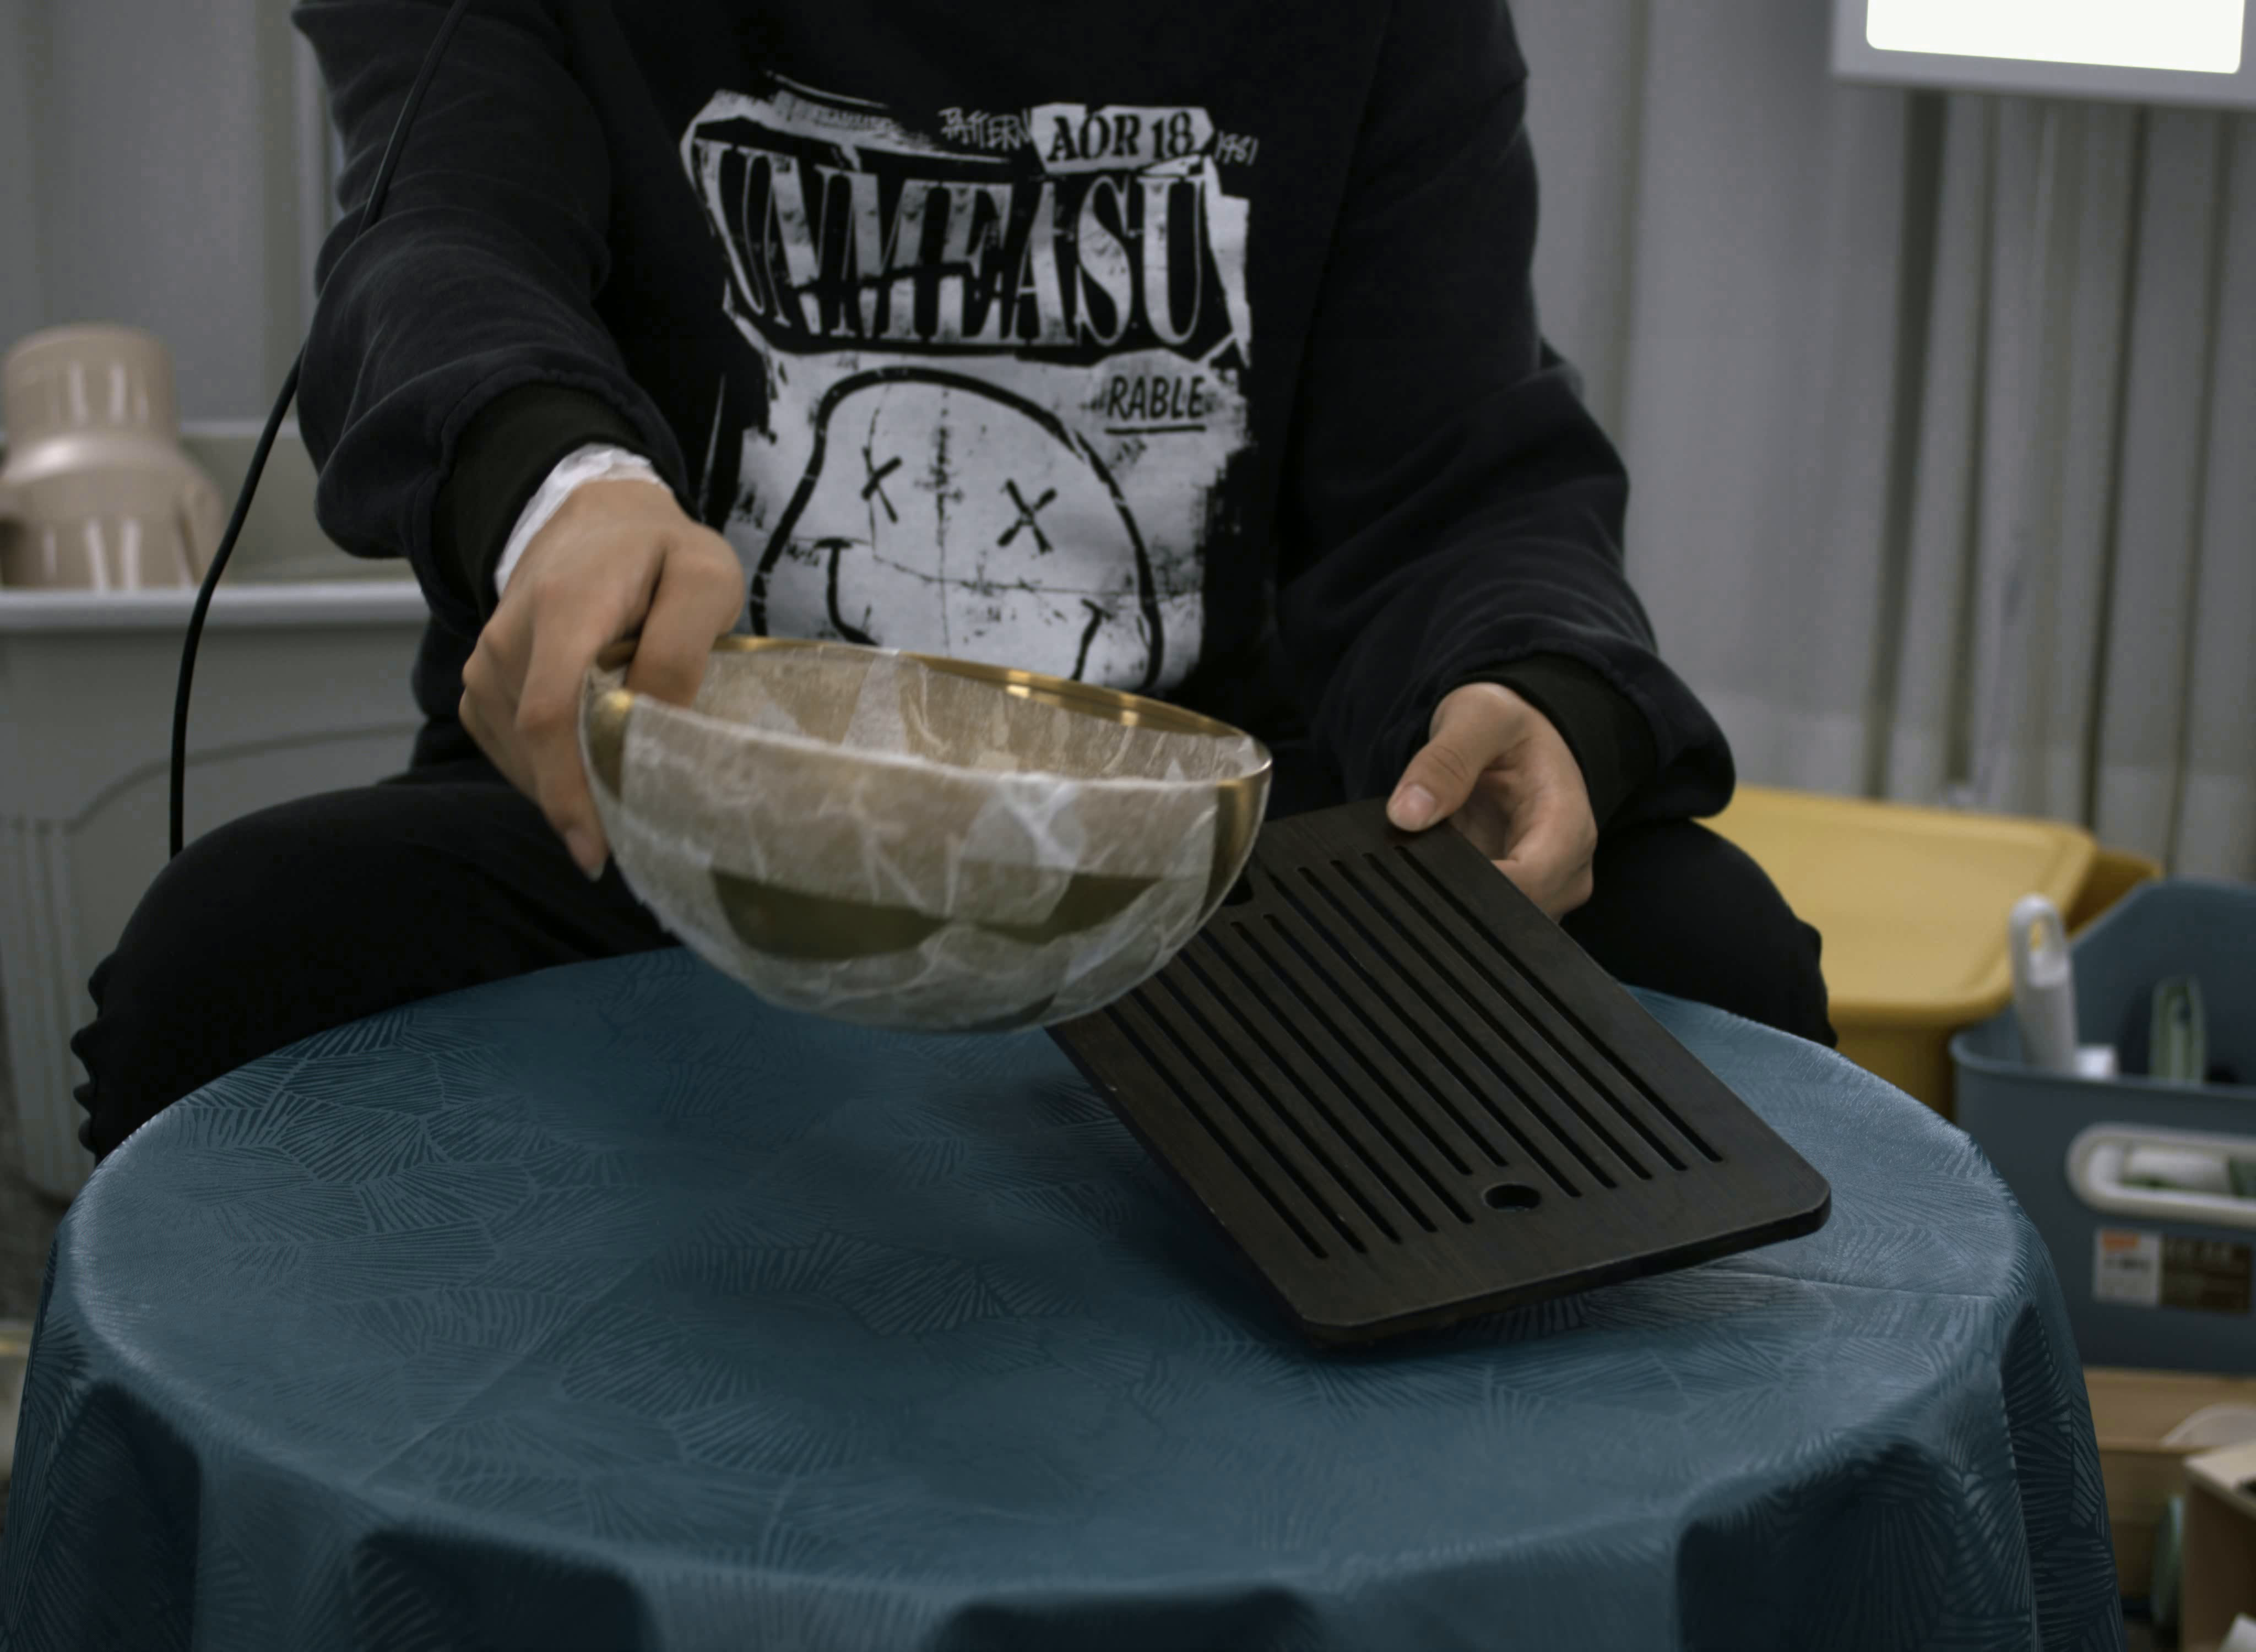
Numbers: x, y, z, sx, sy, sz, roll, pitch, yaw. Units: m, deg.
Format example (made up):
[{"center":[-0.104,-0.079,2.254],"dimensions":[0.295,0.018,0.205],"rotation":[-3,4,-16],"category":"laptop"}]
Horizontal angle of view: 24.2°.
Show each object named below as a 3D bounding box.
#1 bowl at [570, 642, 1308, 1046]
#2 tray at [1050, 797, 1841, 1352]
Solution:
[{"center":[-0.061,0.011,1.515],"dimensions":[0.214,0.095,0.214],"rotation":[7,10,-1],"category":"bowl"},{"center":[0.077,0.072,1.630],"dimensions":[0.170,0.019,0.302],"rotation":[-12,28,-19],"category":"tray"}]
